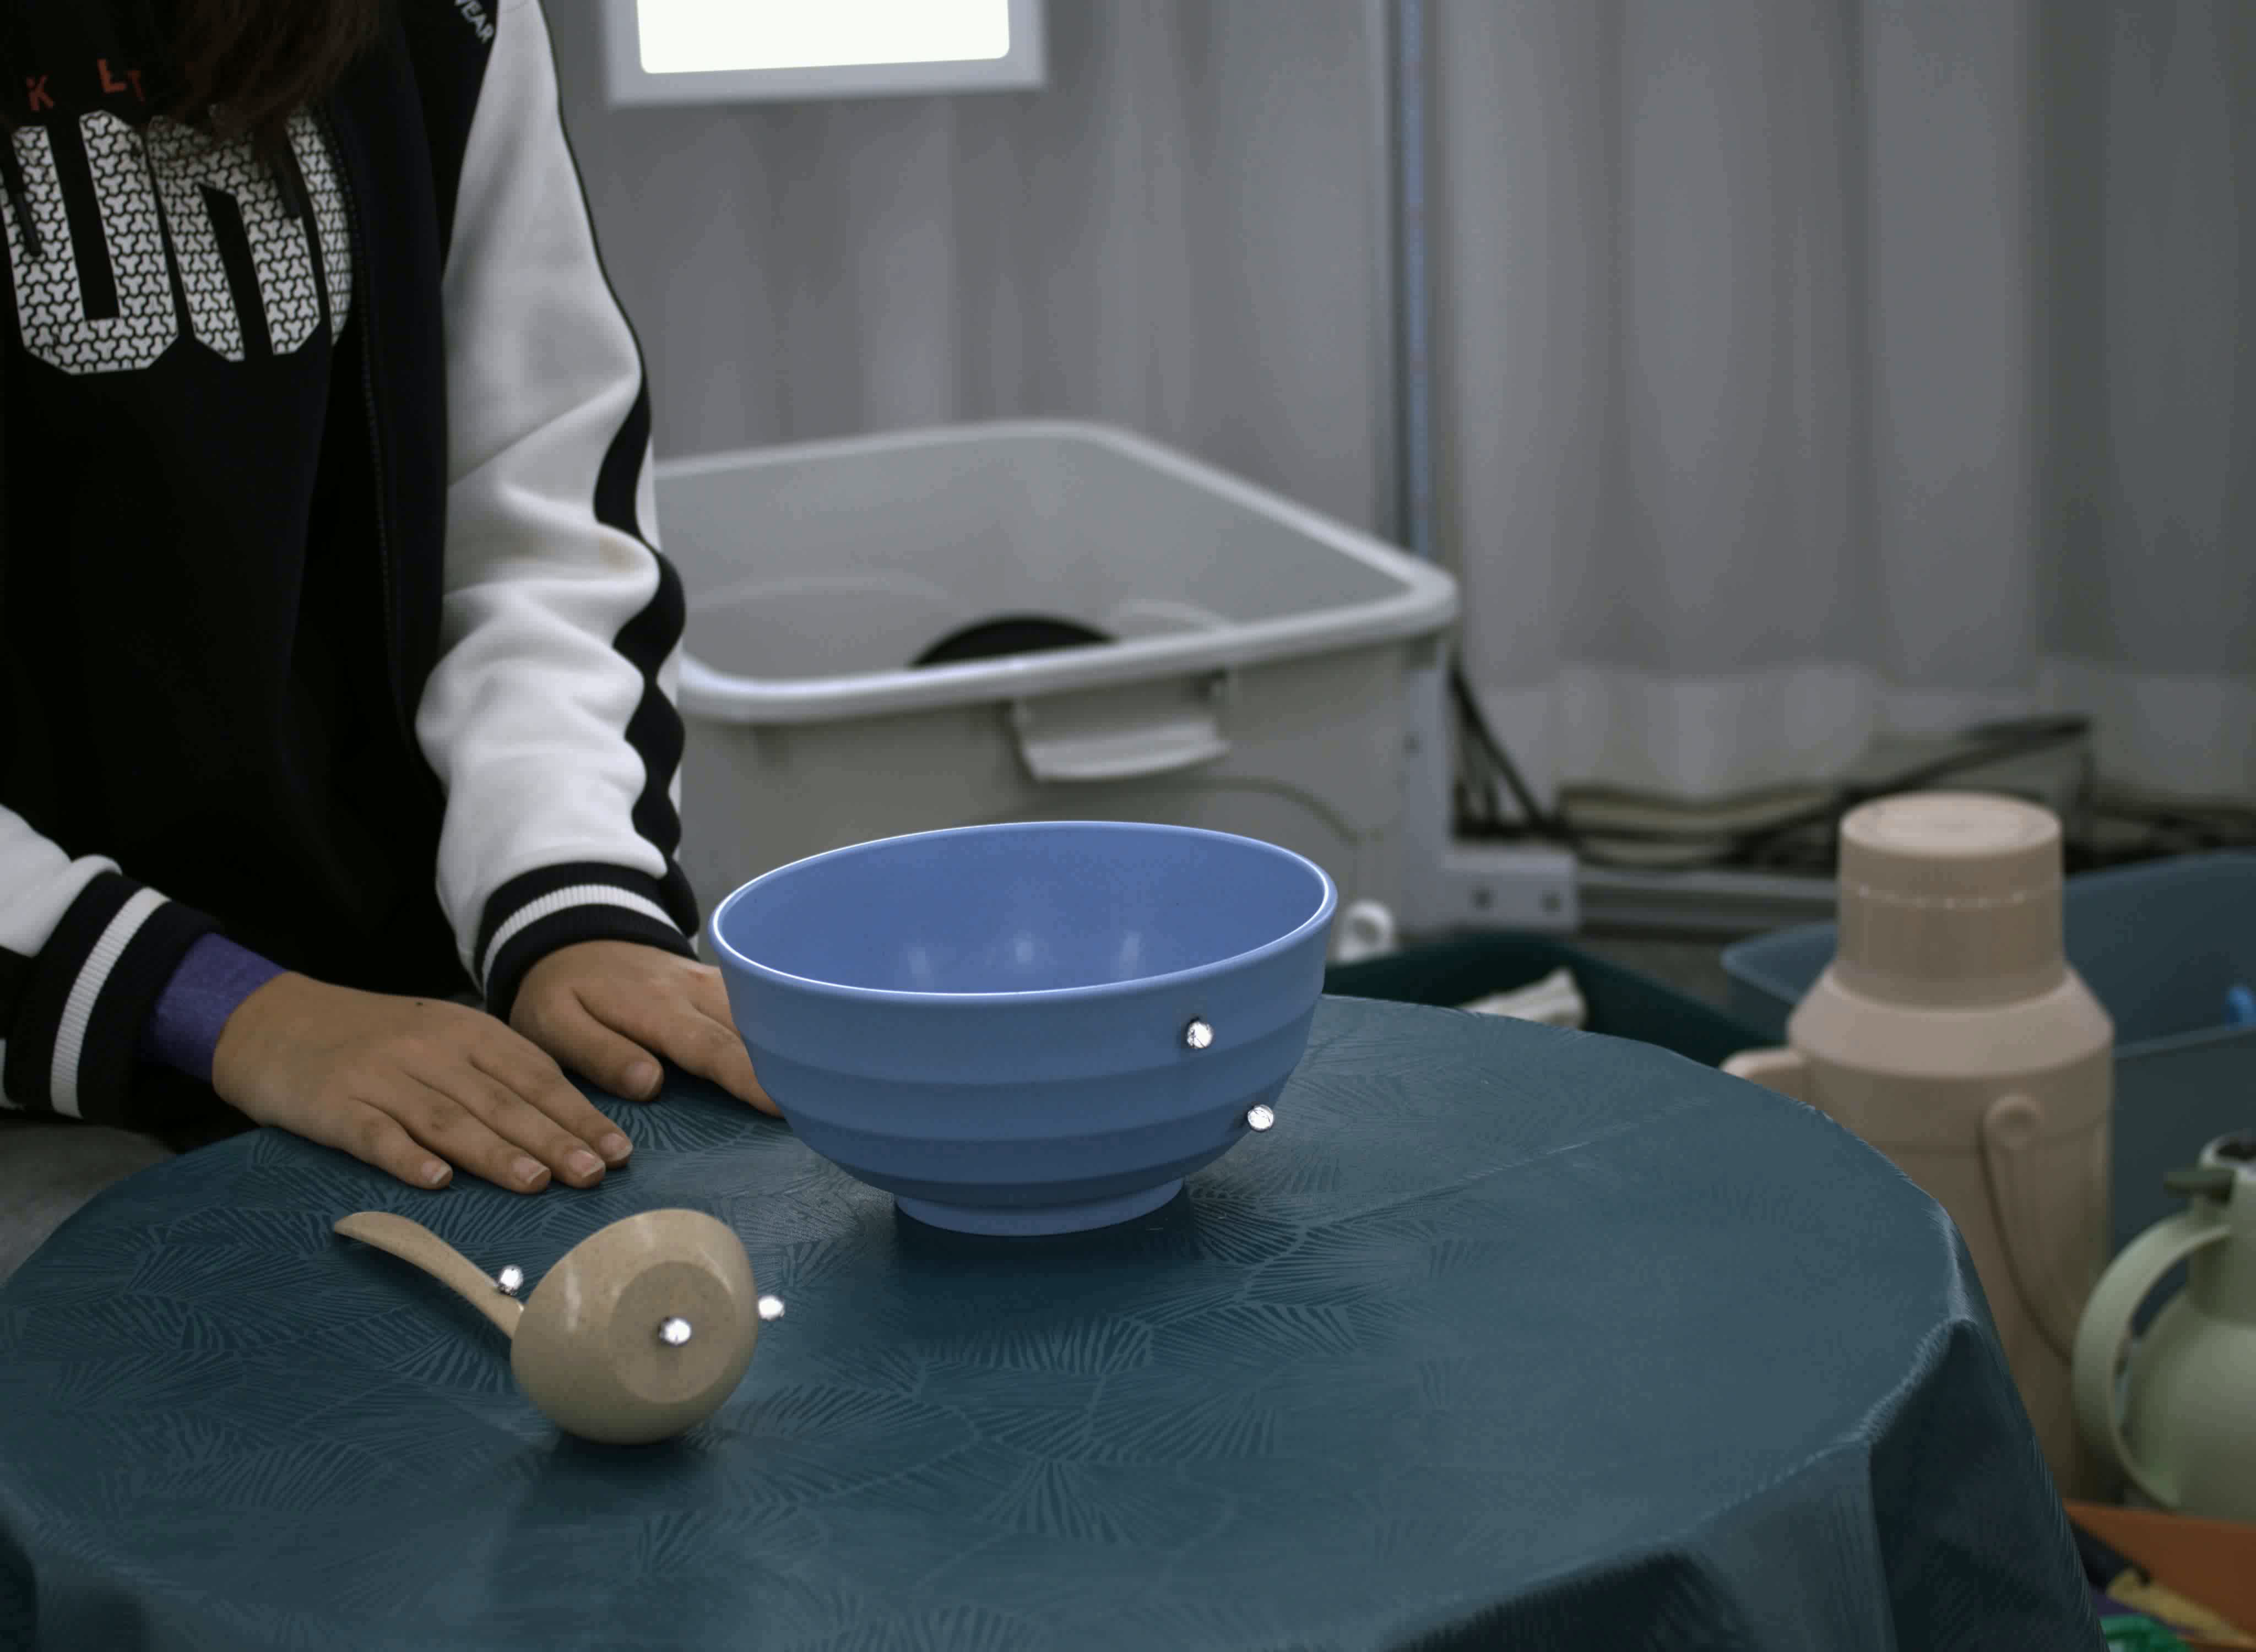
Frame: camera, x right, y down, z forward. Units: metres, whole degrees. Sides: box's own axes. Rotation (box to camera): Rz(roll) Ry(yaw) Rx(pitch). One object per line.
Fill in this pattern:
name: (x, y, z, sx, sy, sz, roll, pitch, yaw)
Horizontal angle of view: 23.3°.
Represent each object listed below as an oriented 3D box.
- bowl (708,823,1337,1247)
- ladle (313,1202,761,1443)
bowl: (-0.030, 0.072, 1.710, 0.196, 0.095, 0.198, -4, 15, 1)
ladle: (-0.186, 0.117, 1.600, 0.072, 0.072, 0.256, -10, 16, -29)
